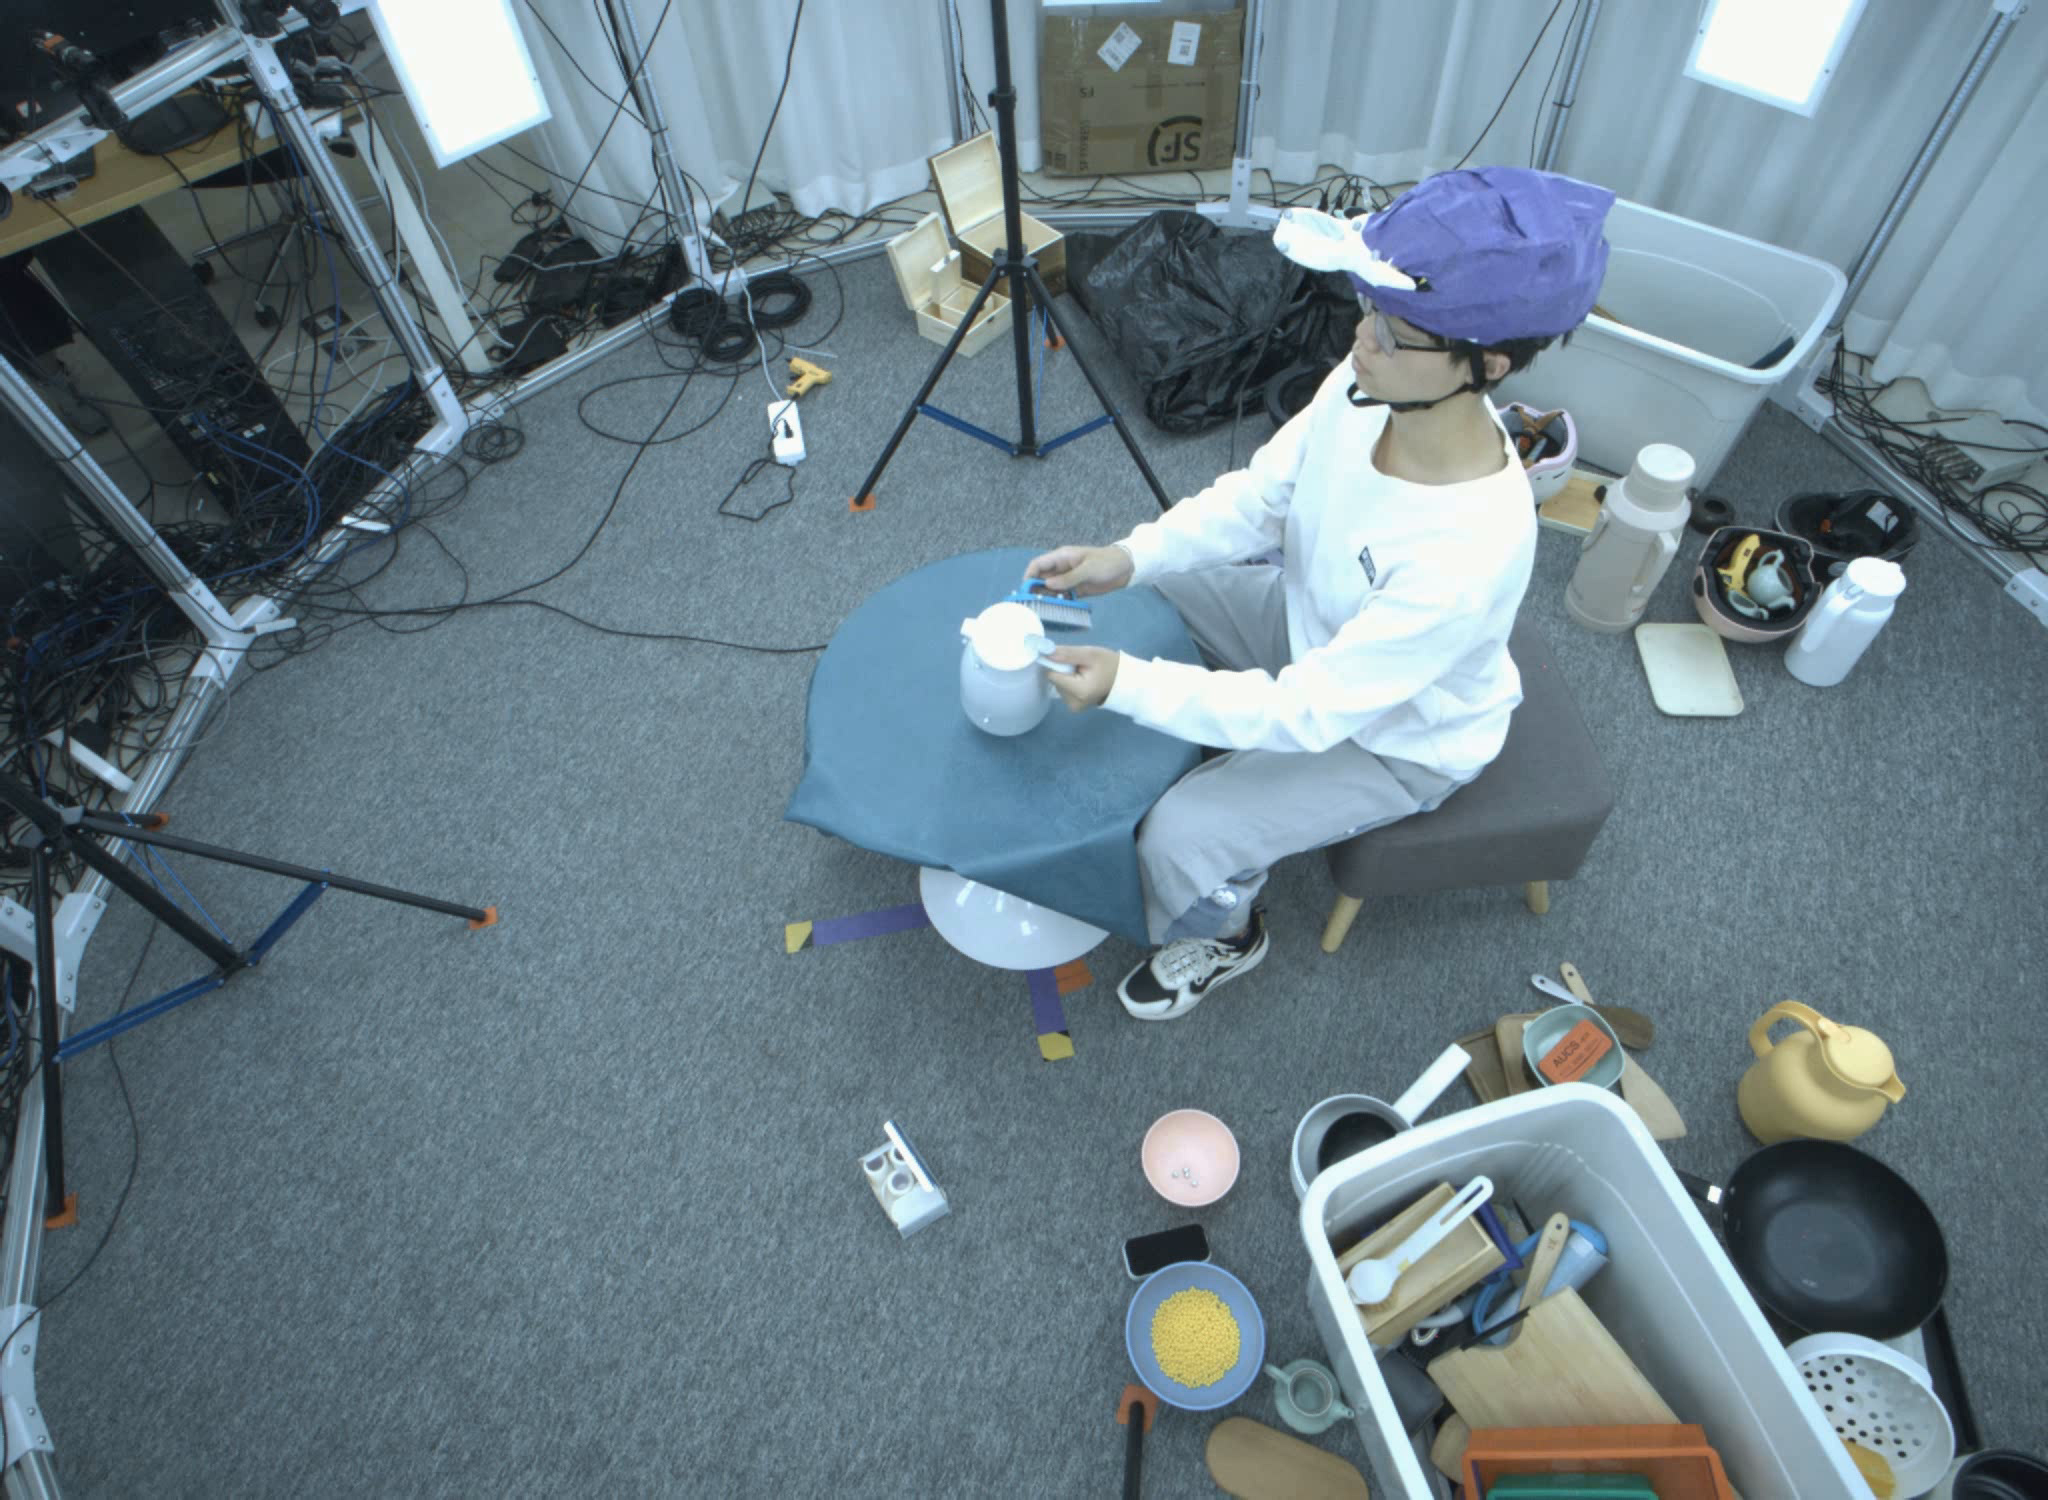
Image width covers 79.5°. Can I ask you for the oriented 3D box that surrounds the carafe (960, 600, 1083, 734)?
[{"bbox_3d":[-0.003,-0.113,1.663,0.167,0.249,0.132,17,75,2],"label":"carafe"}]

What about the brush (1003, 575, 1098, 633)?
[{"bbox_3d":[0.034,-0.206,1.701,0.145,0.083,0.063,6,78,-32],"label":"brush"}]
